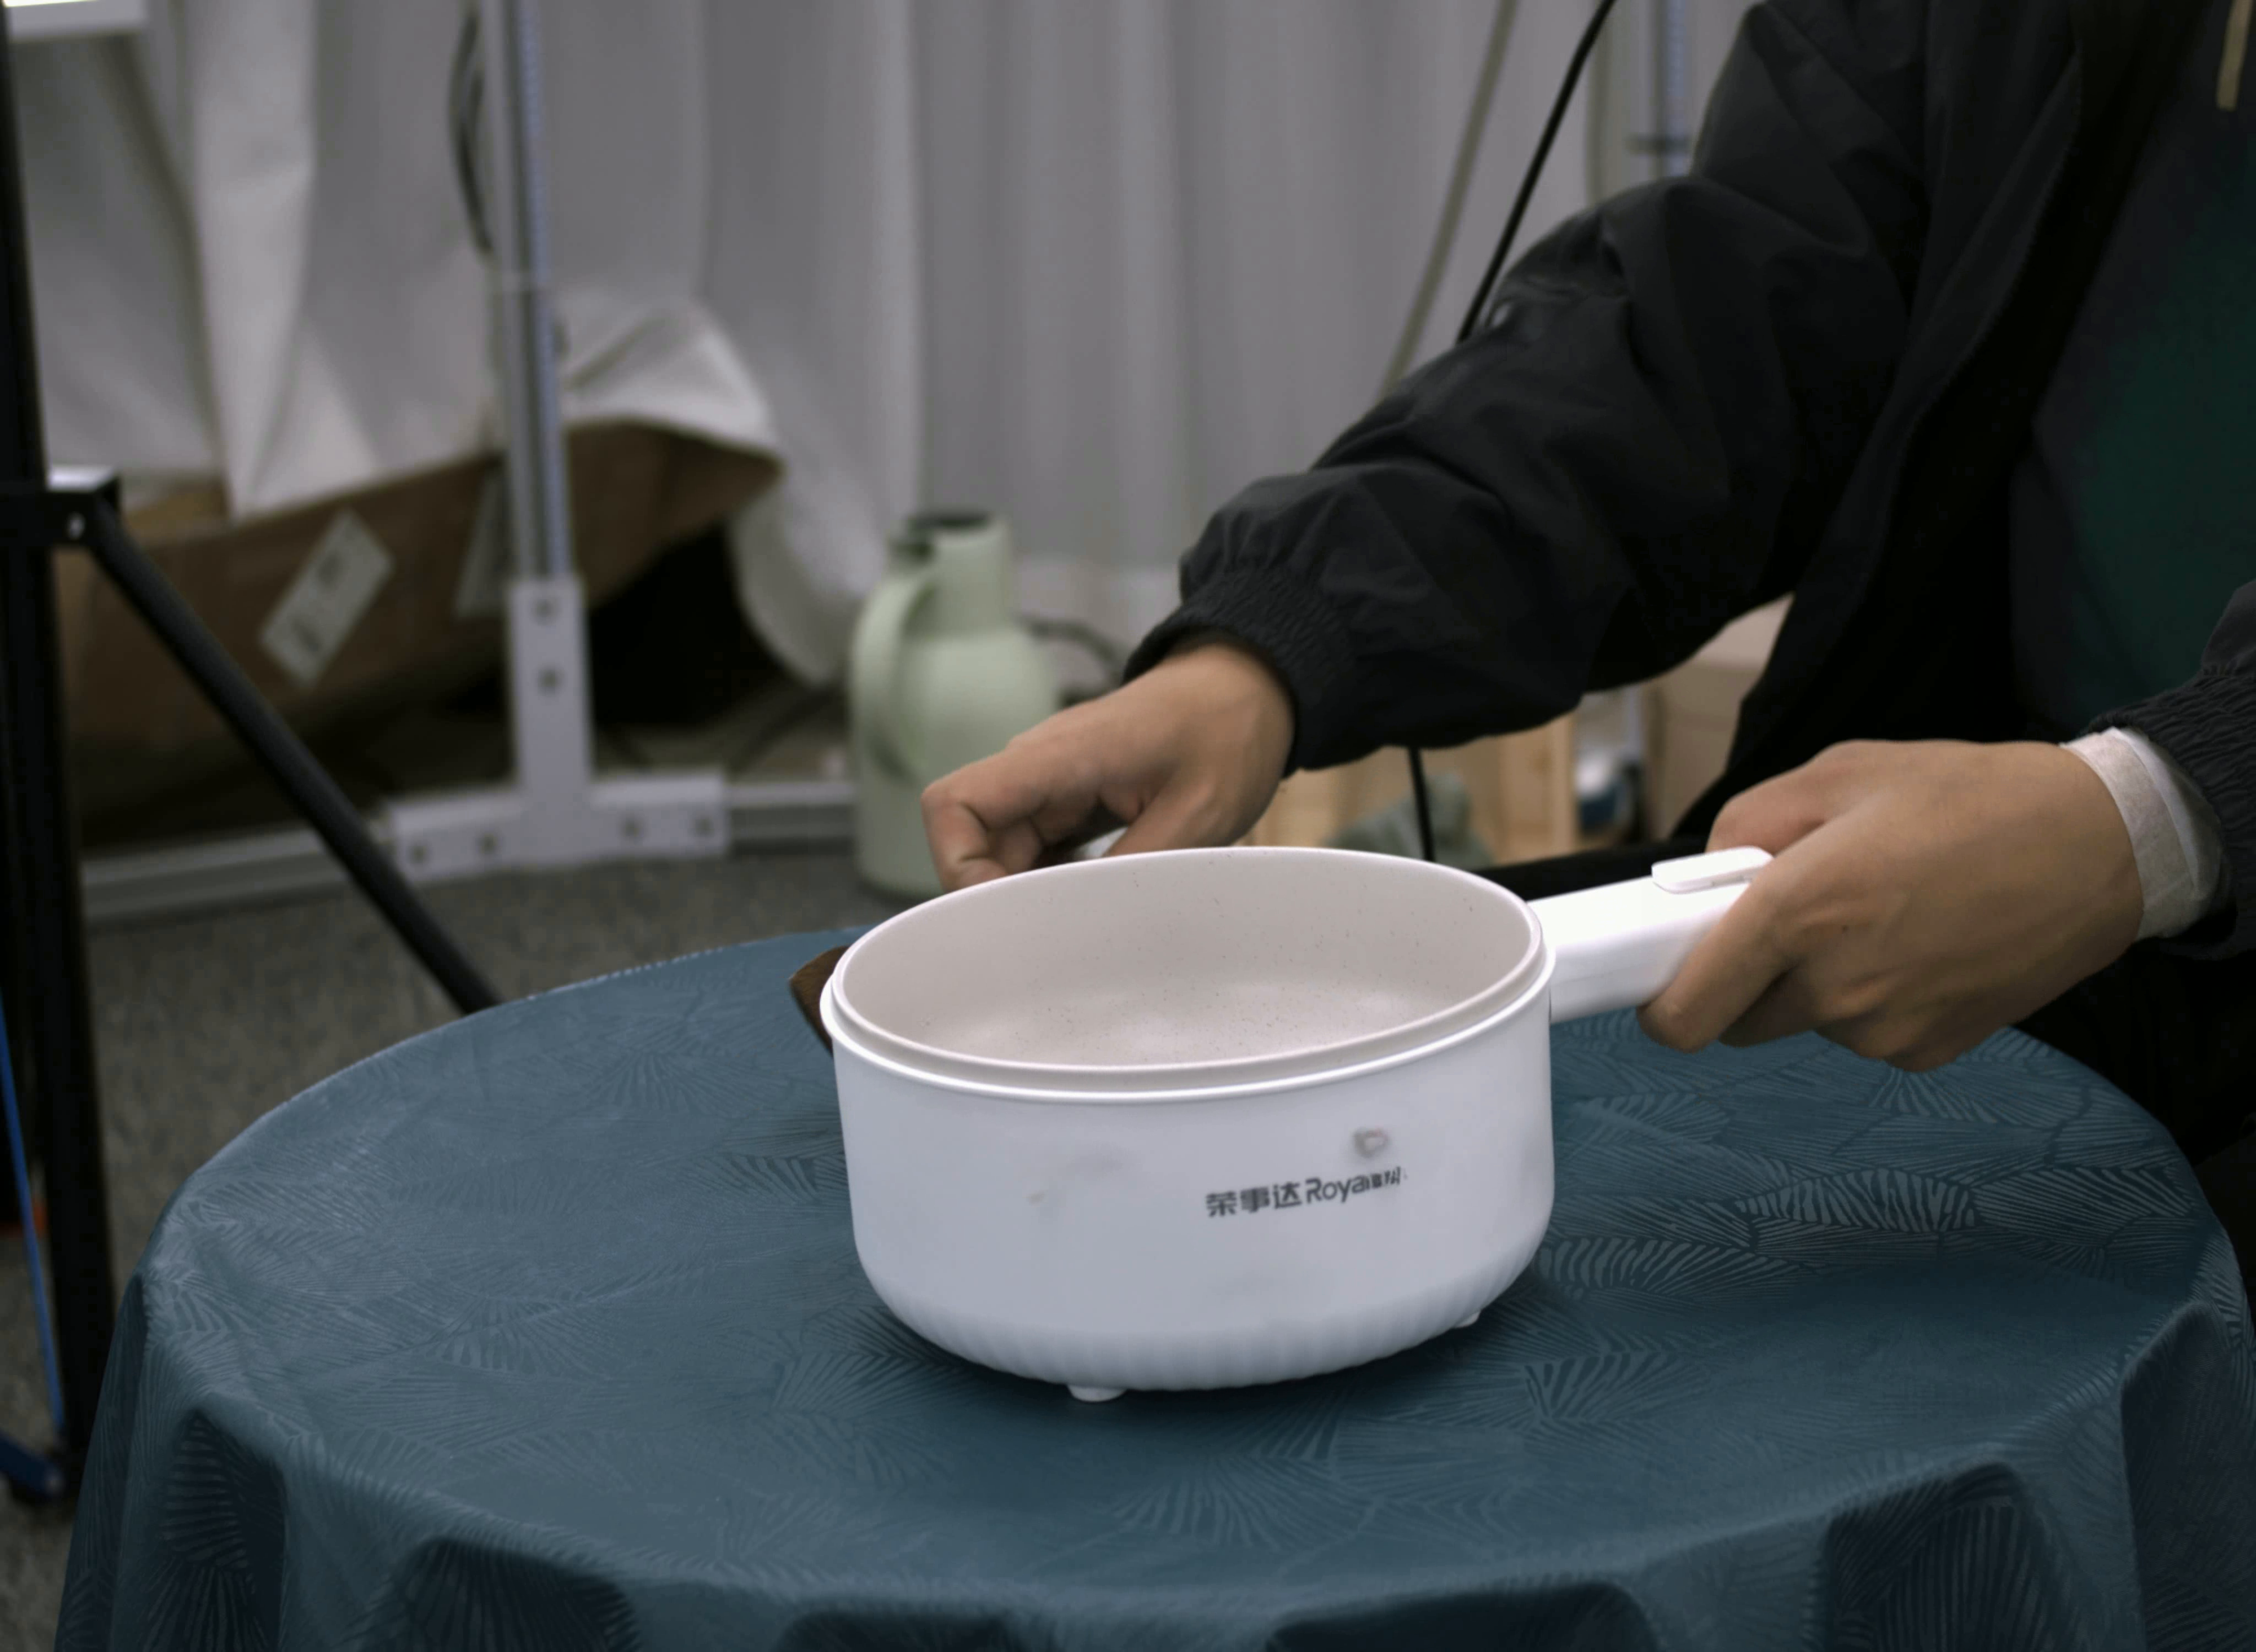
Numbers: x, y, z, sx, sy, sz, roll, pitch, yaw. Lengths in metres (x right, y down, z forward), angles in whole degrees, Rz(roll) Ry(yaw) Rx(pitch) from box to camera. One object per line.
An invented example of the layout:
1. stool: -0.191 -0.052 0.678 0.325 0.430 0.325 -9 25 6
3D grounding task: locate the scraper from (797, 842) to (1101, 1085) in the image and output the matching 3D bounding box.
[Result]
1. scraper: -0.049 0.045 1.669 0.011 0.076 0.209 -33 3 26

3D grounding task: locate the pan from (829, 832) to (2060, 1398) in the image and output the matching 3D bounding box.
1. pan: 0.093 0.073 1.474 0.349 0.102 0.204 -8 16 -16
